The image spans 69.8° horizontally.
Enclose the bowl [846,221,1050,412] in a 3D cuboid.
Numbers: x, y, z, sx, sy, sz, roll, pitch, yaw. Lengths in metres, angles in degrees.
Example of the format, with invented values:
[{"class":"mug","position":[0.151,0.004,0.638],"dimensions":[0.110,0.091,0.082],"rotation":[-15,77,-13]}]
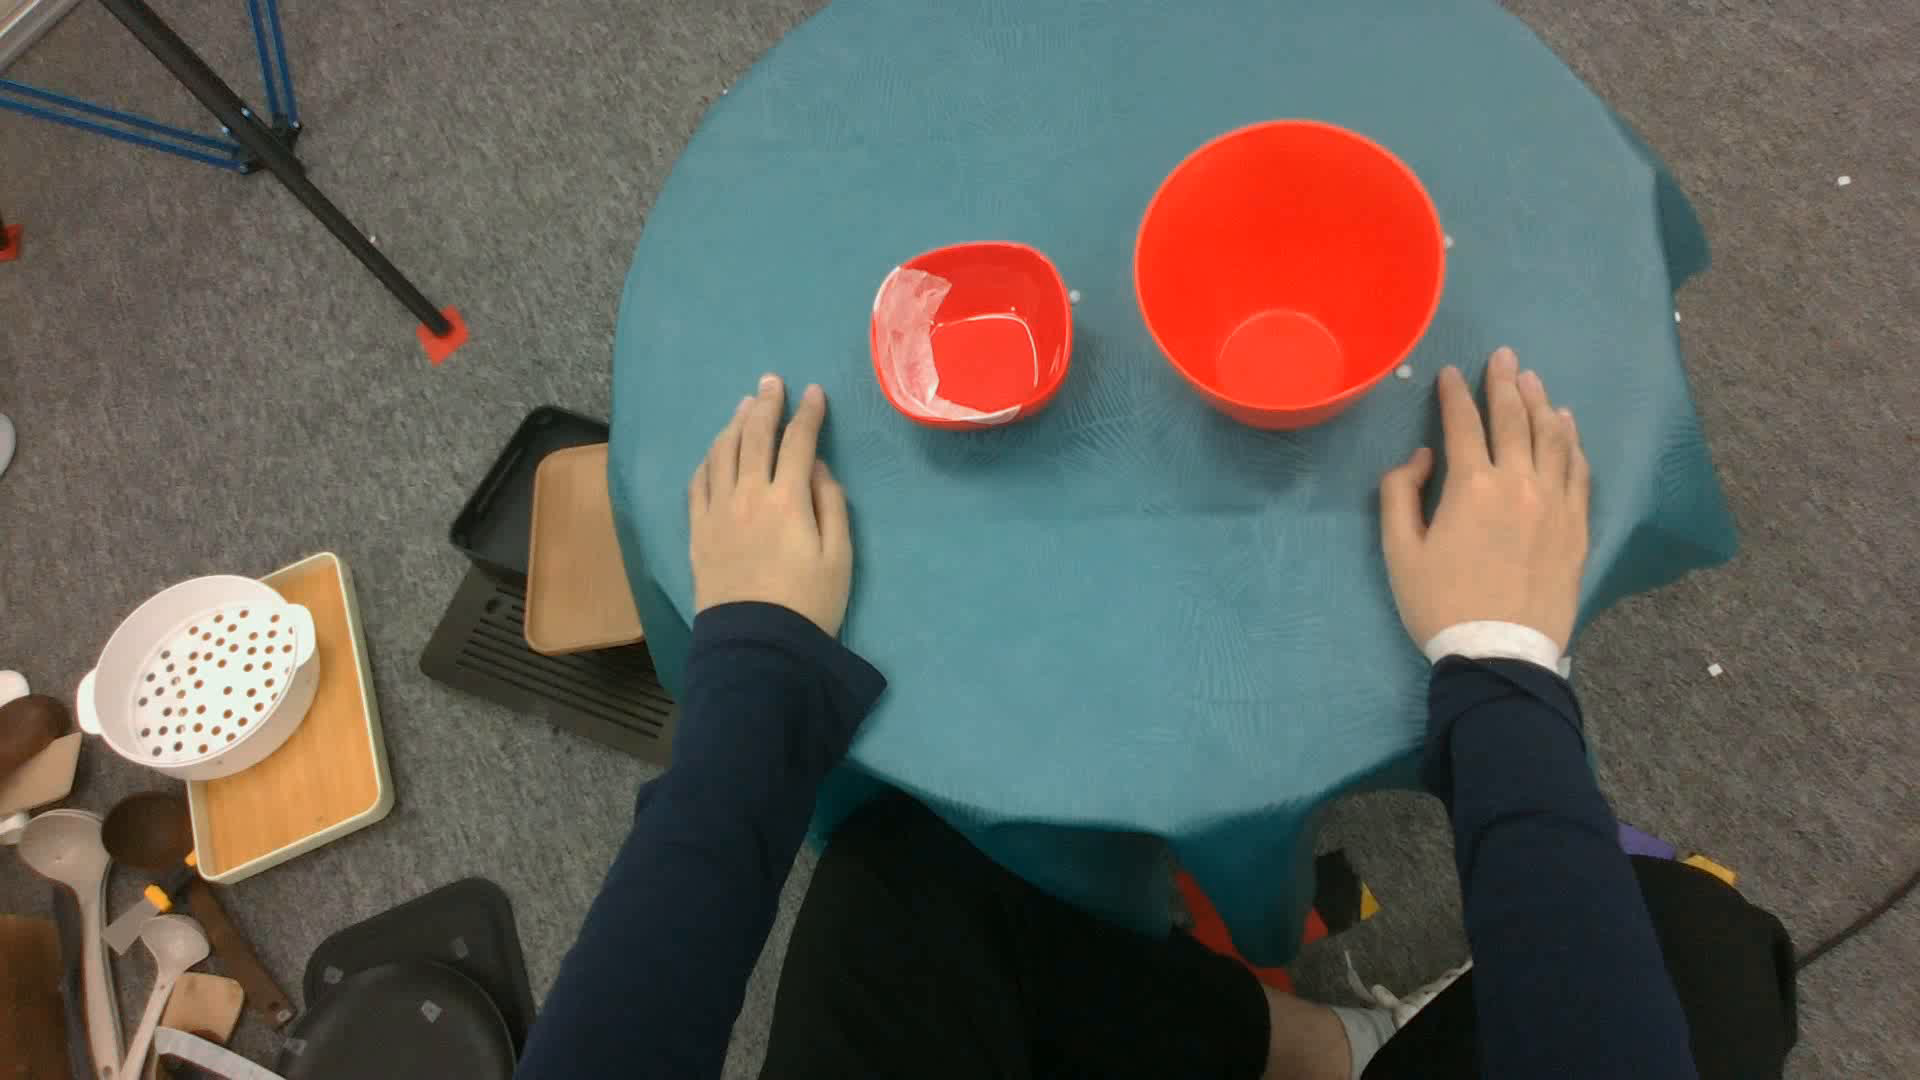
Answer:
[{"class":"bowl","position":[-0.004,-0.115,0.760],"dimensions":[0.119,0.051,0.119],"rotation":[-2,69,7]}]

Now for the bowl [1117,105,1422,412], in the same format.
[{"class":"bowl","position":[0.157,-0.132,0.714],"dimensions":[0.148,0.104,0.148],"rotation":[-3,68,7]}]
